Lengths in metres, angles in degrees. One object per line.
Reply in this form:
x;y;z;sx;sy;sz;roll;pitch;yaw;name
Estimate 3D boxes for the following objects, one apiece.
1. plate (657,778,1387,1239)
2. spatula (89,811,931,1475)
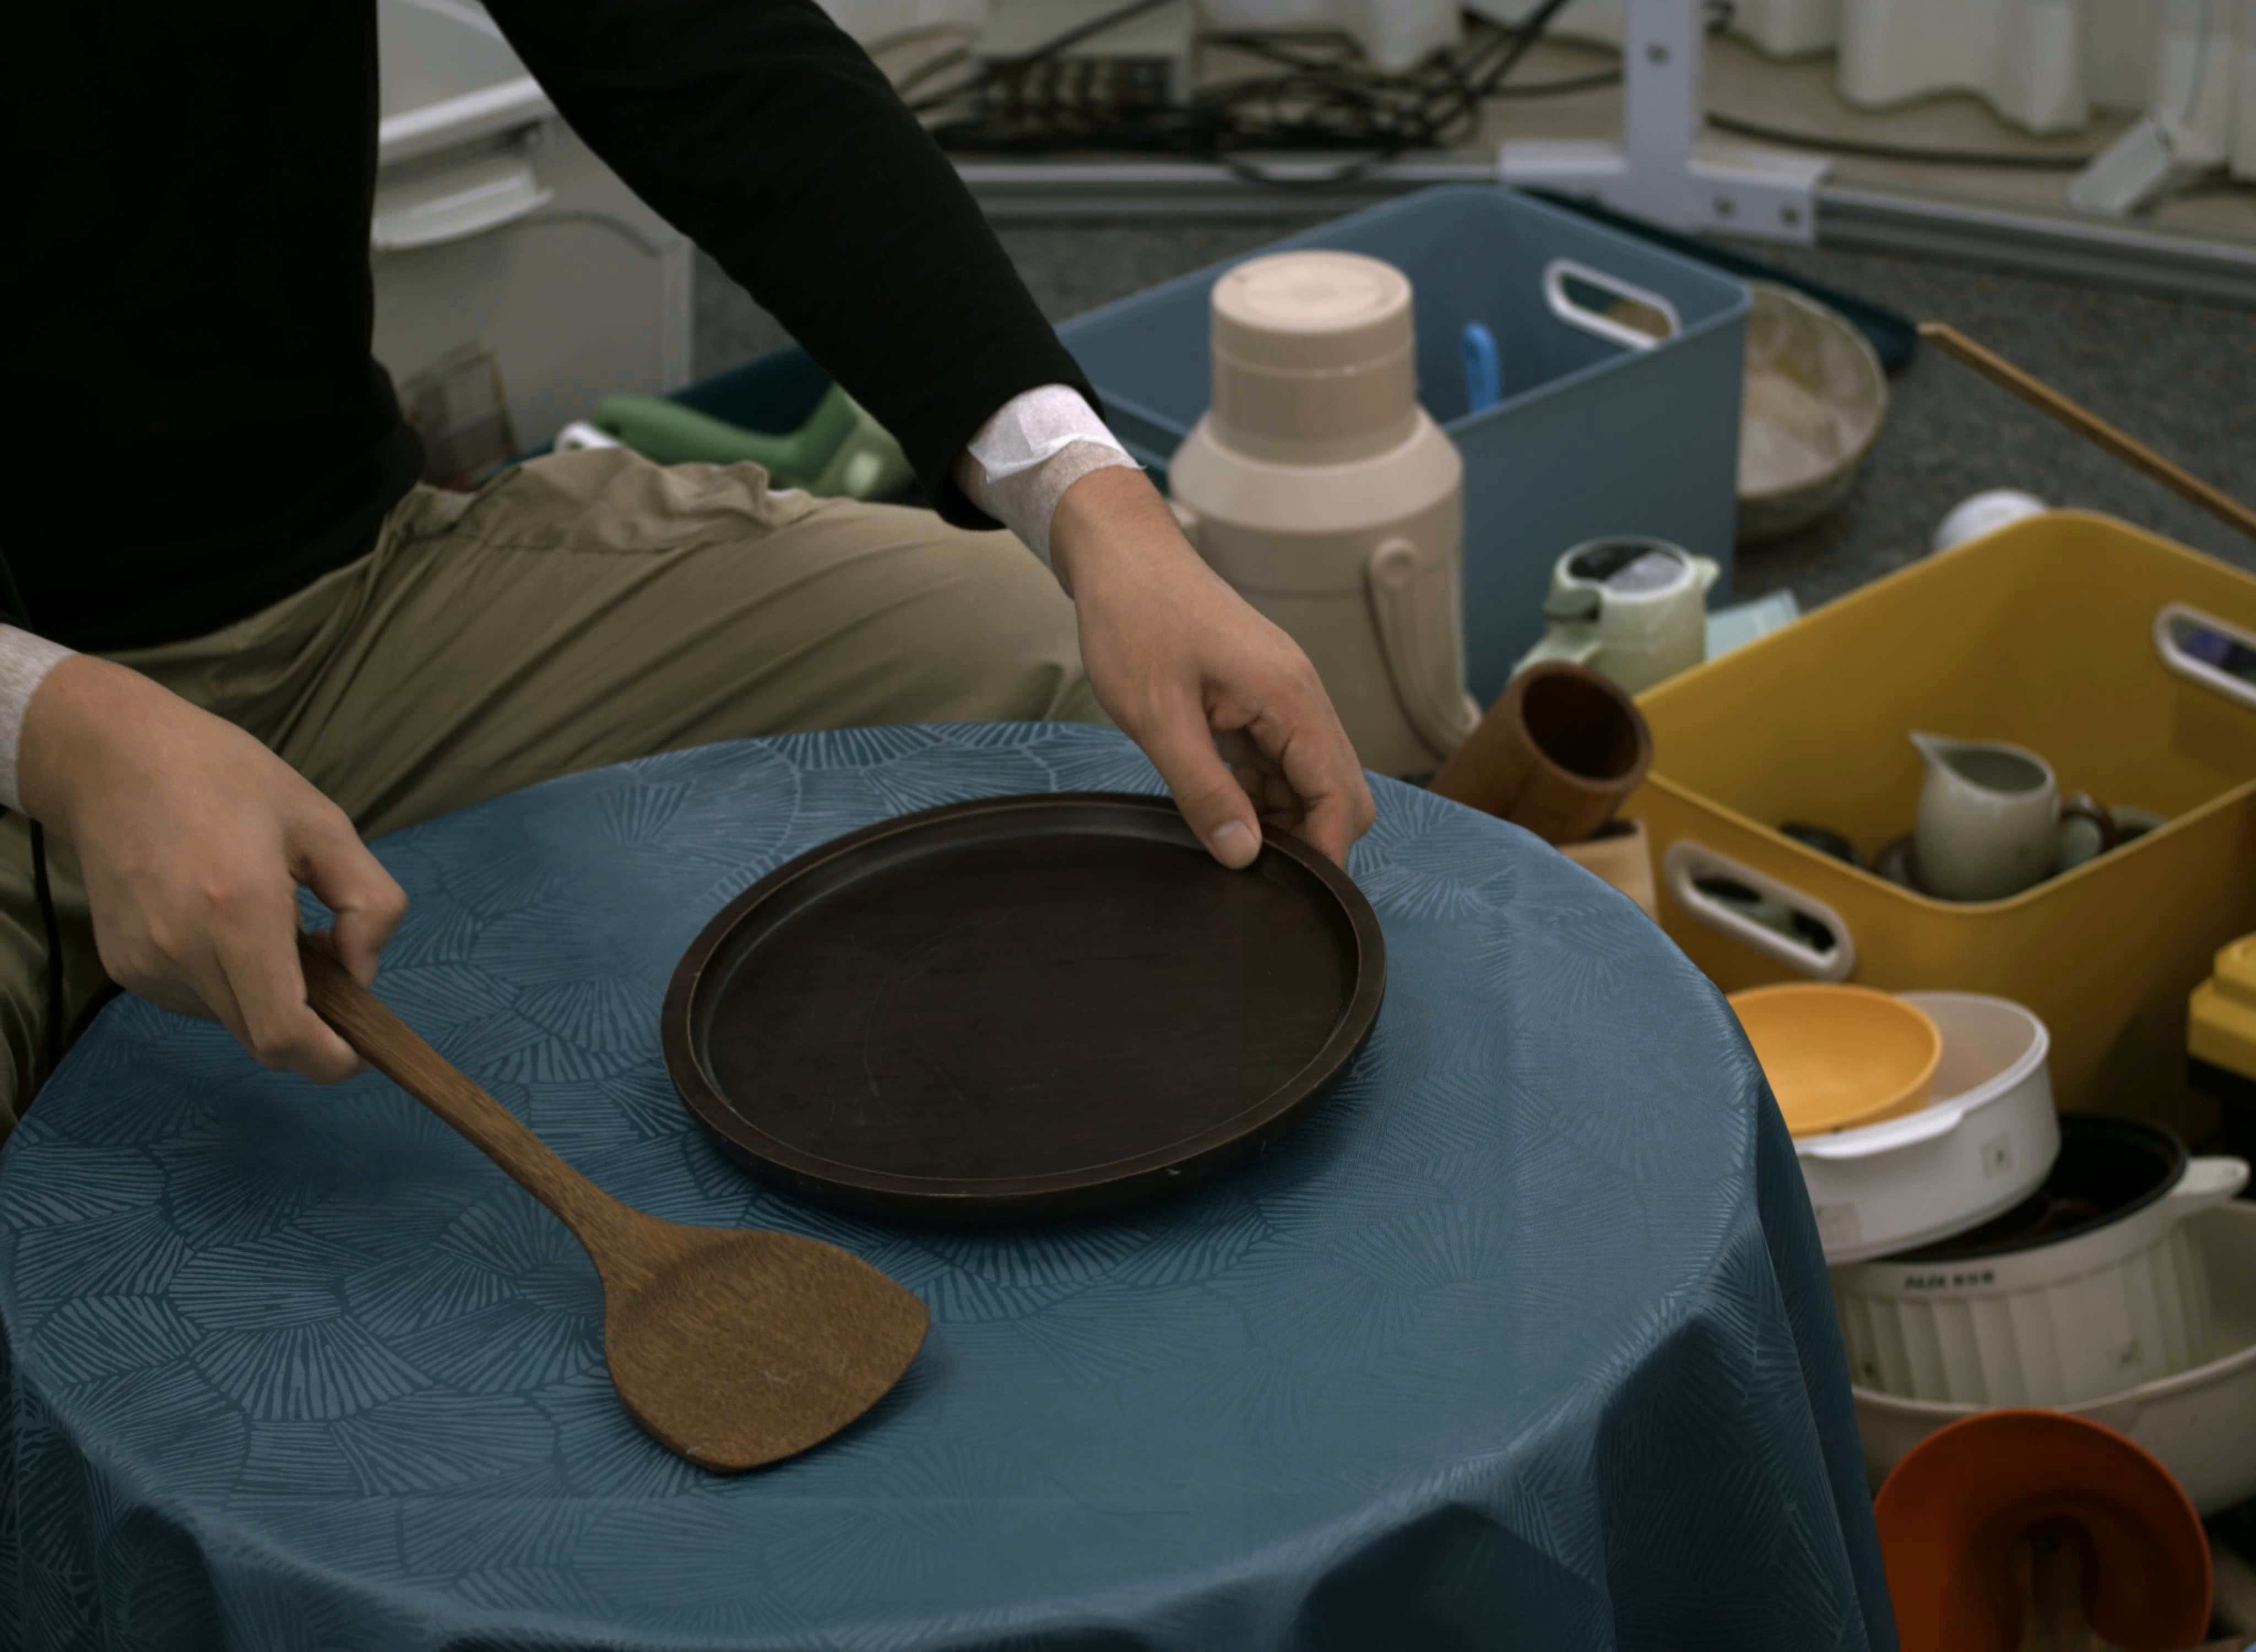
-0.036;0.064;1.937;0.253;0.028;0.259;-4;32;3;plate
-0.219;0.092;1.838;0.097;0.015;0.387;-33;53;-31;spatula
